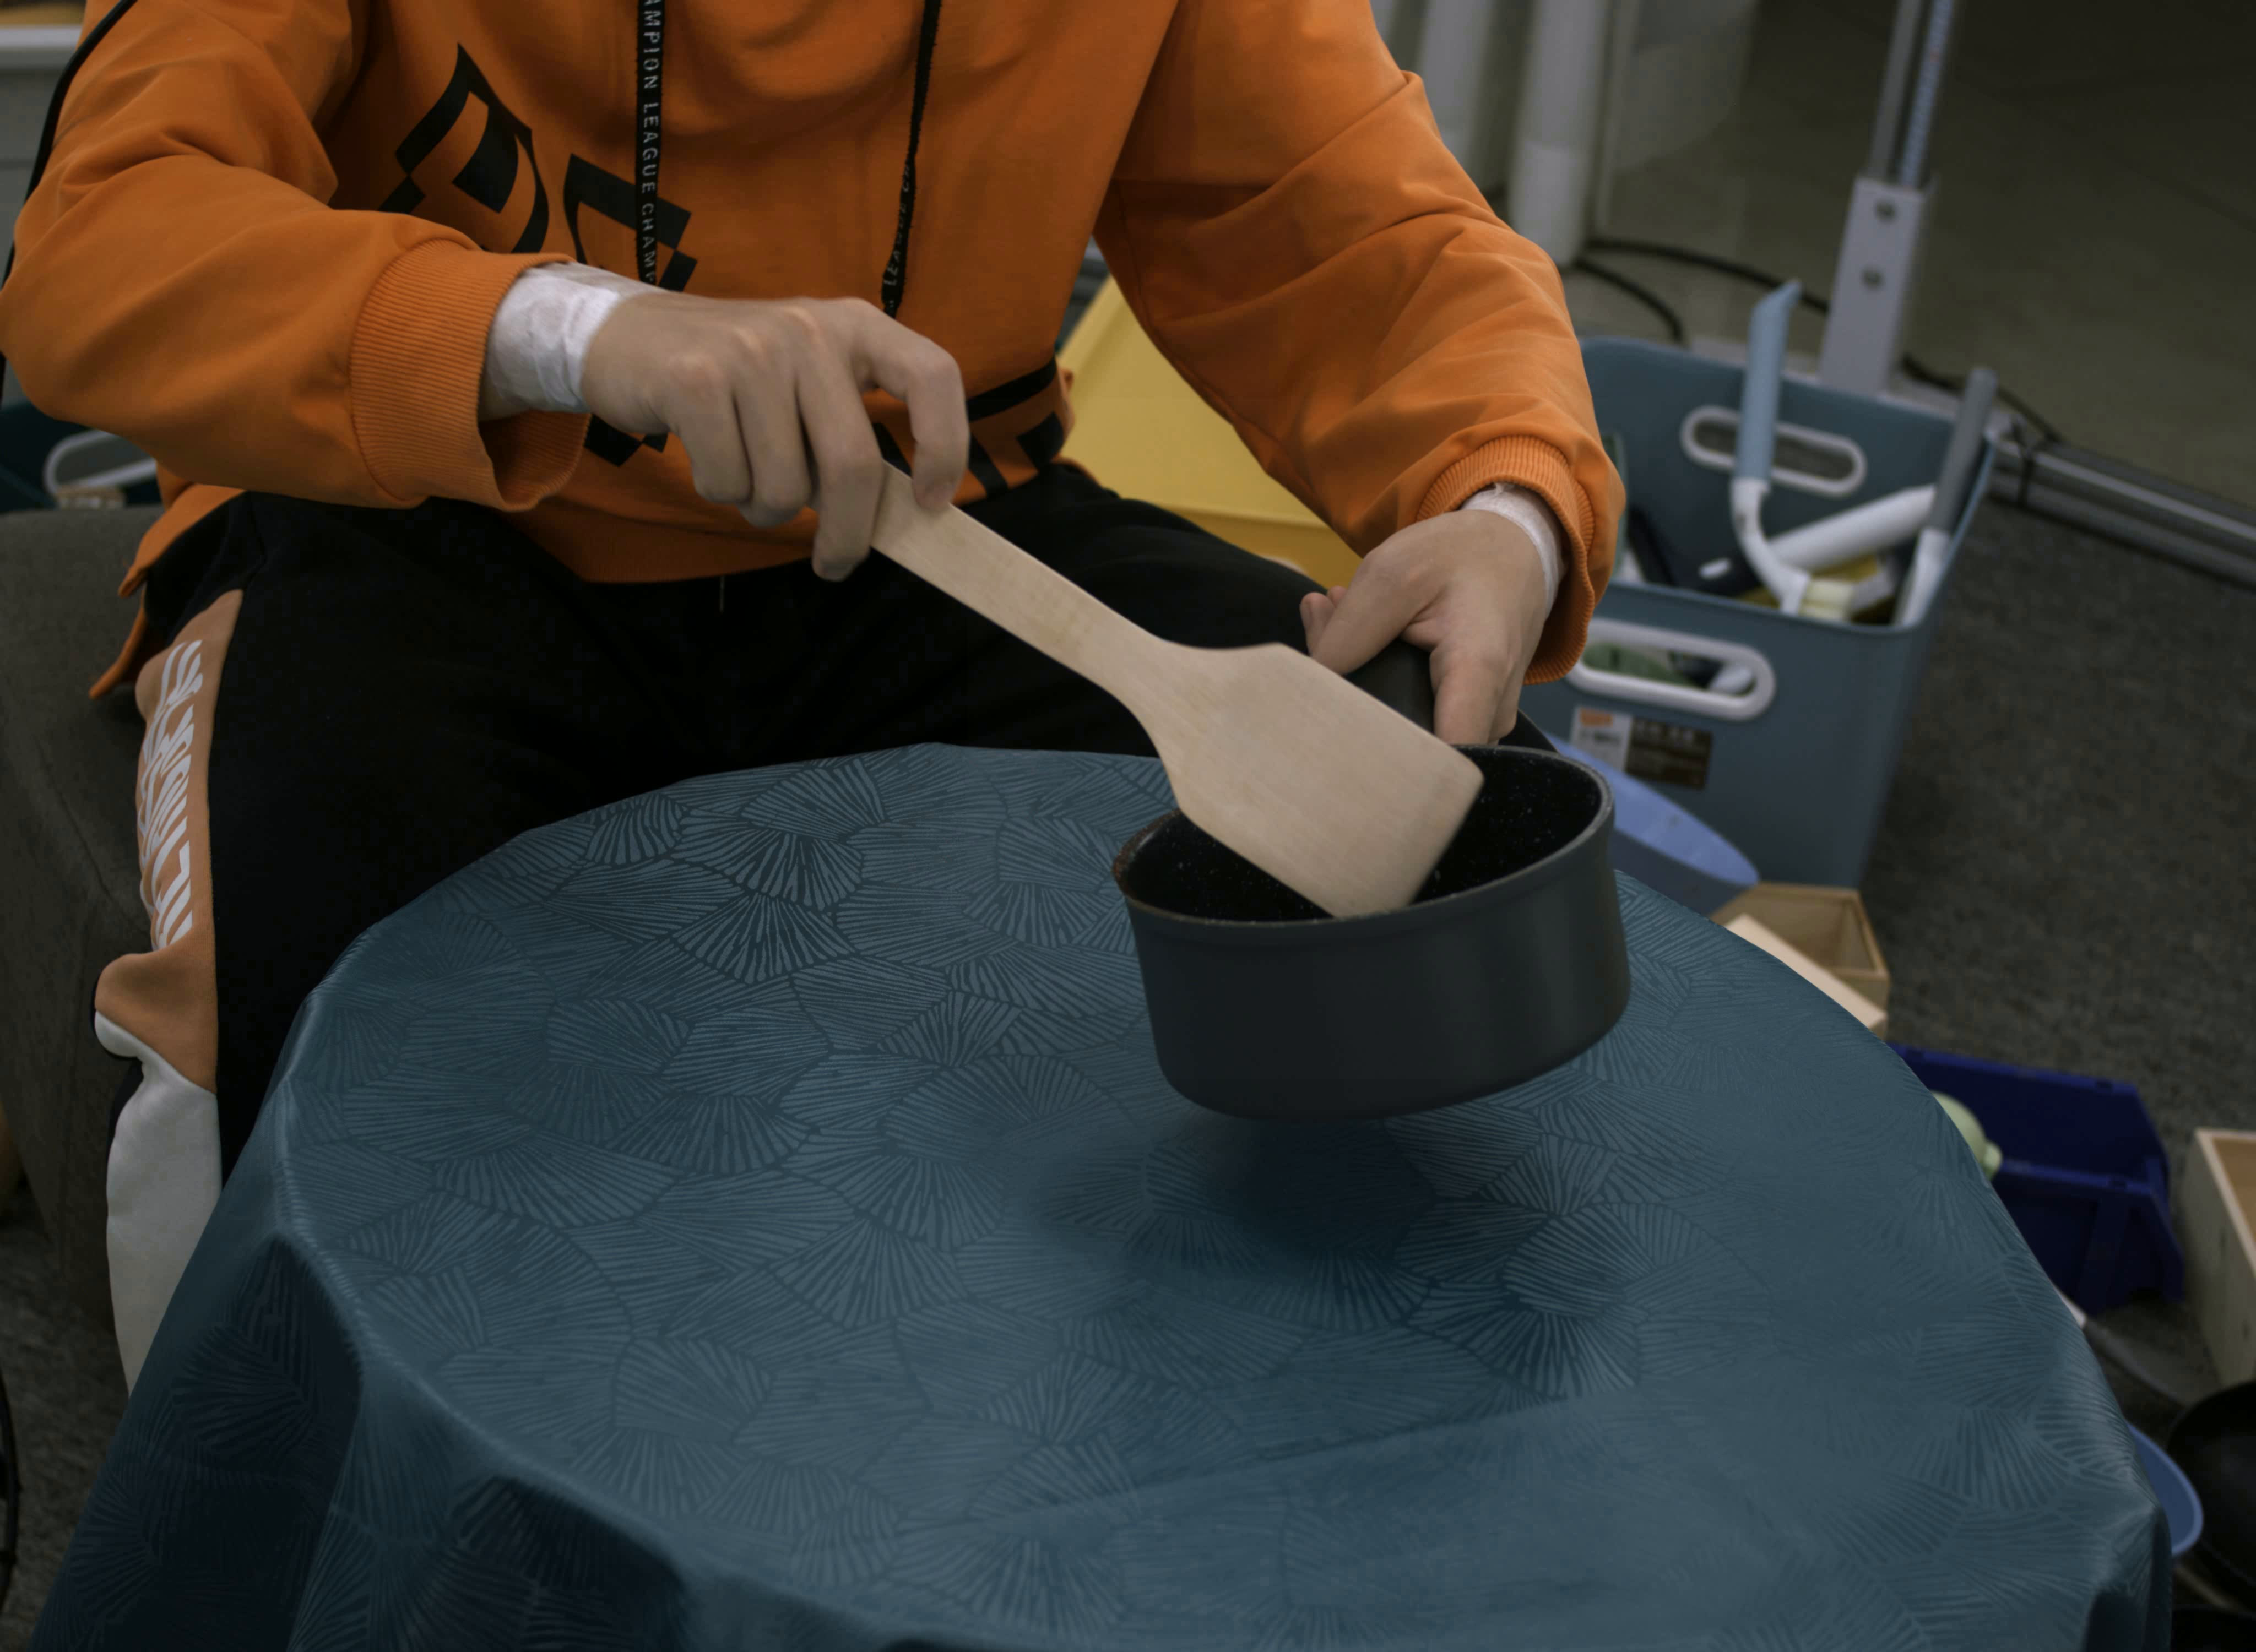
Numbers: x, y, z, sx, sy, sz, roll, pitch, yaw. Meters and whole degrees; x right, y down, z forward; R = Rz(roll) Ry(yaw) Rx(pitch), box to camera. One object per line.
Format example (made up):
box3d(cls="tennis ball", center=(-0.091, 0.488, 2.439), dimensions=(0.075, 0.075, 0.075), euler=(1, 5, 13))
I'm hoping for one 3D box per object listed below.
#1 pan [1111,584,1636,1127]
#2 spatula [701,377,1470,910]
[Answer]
box3d(cls="pan", center=(0.094, 0.007, 1.866), dimensions=(0.172, 0.086, 0.330), euler=(-6, 20, 11))
box3d(cls="spatula", center=(-0.021, -0.071, 1.806), dimensions=(0.293, 0.072, 0.010), euler=(32, 9, 11))
